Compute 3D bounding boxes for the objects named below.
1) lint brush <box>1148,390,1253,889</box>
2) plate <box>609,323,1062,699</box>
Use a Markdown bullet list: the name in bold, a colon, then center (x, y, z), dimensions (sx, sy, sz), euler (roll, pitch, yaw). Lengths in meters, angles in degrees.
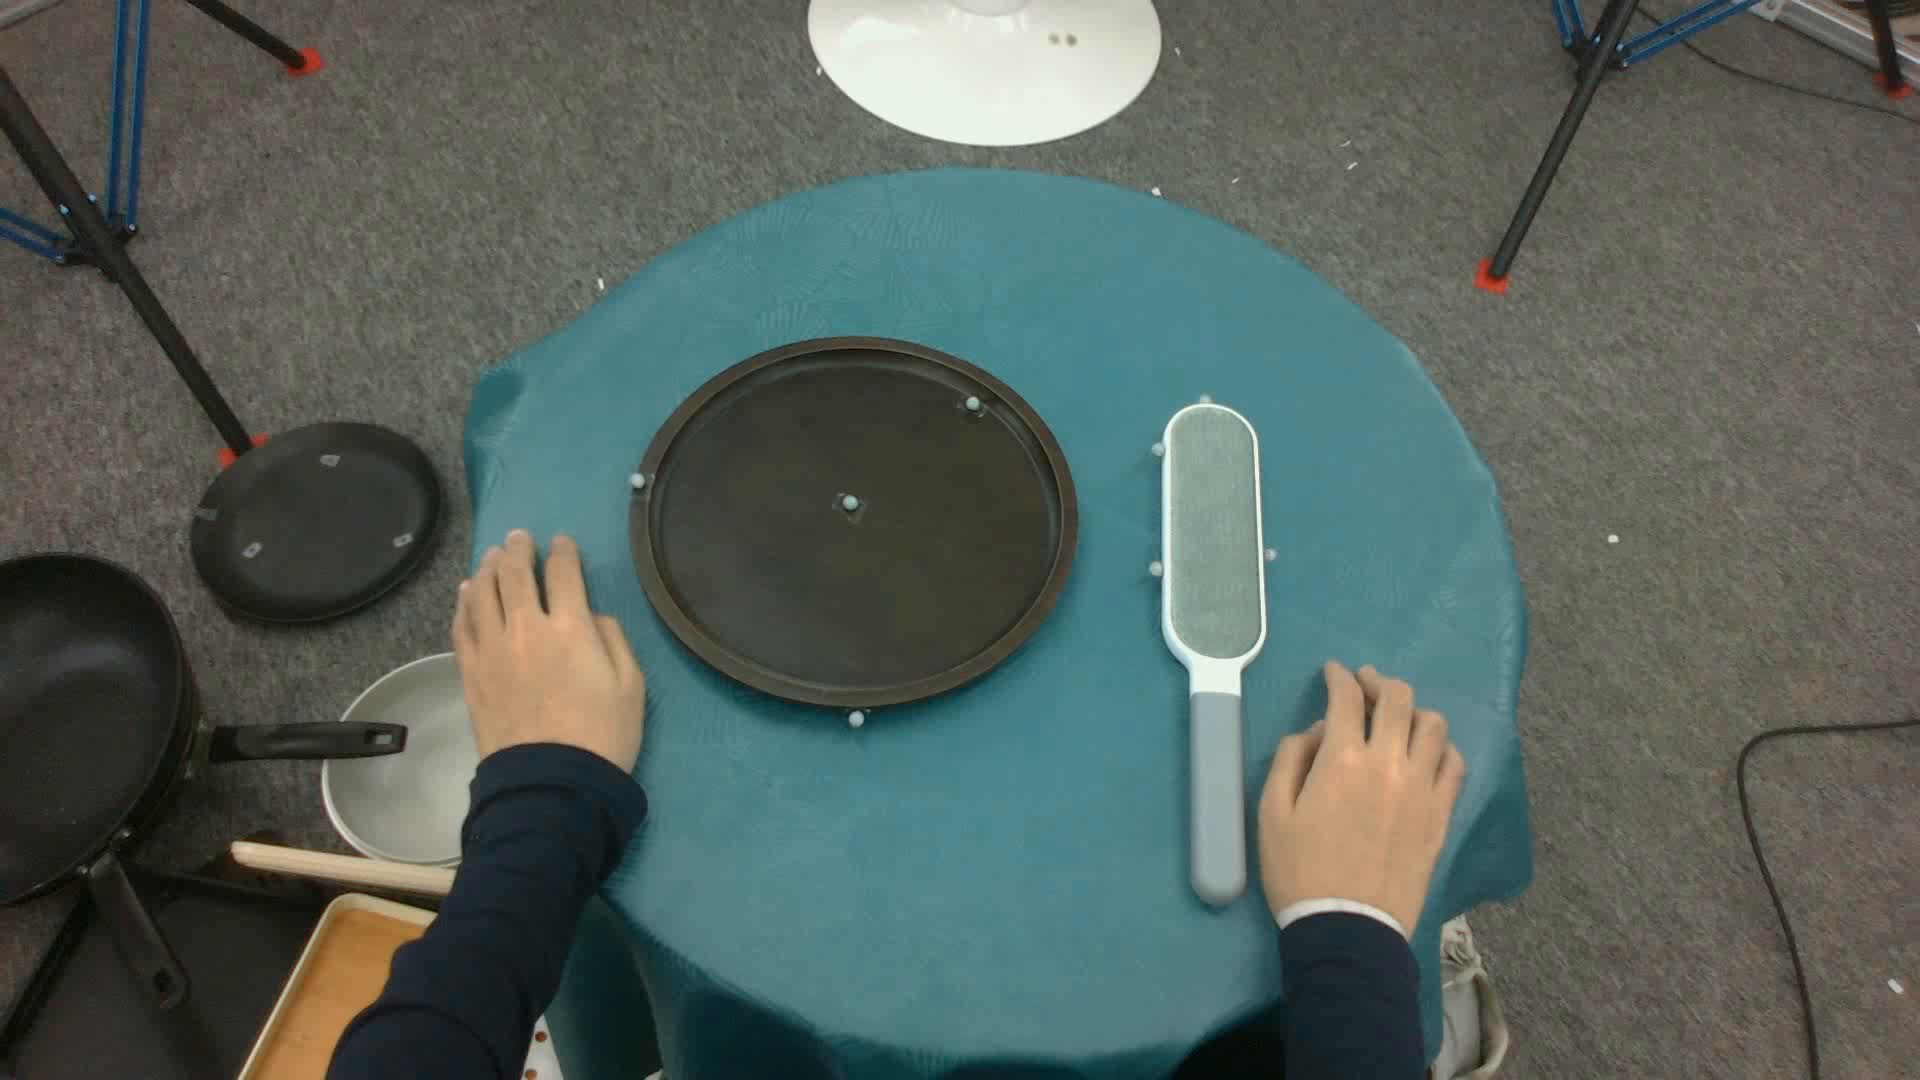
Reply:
- **lint brush**: center (0.131, 0.040, 0.754), dimensions (0.060, 0.021, 0.310), euler (9, 57, -5)
- **plate**: center (-0.068, -0.023, 0.779), dimensions (0.255, 0.029, 0.256), euler (2, 56, -2)
